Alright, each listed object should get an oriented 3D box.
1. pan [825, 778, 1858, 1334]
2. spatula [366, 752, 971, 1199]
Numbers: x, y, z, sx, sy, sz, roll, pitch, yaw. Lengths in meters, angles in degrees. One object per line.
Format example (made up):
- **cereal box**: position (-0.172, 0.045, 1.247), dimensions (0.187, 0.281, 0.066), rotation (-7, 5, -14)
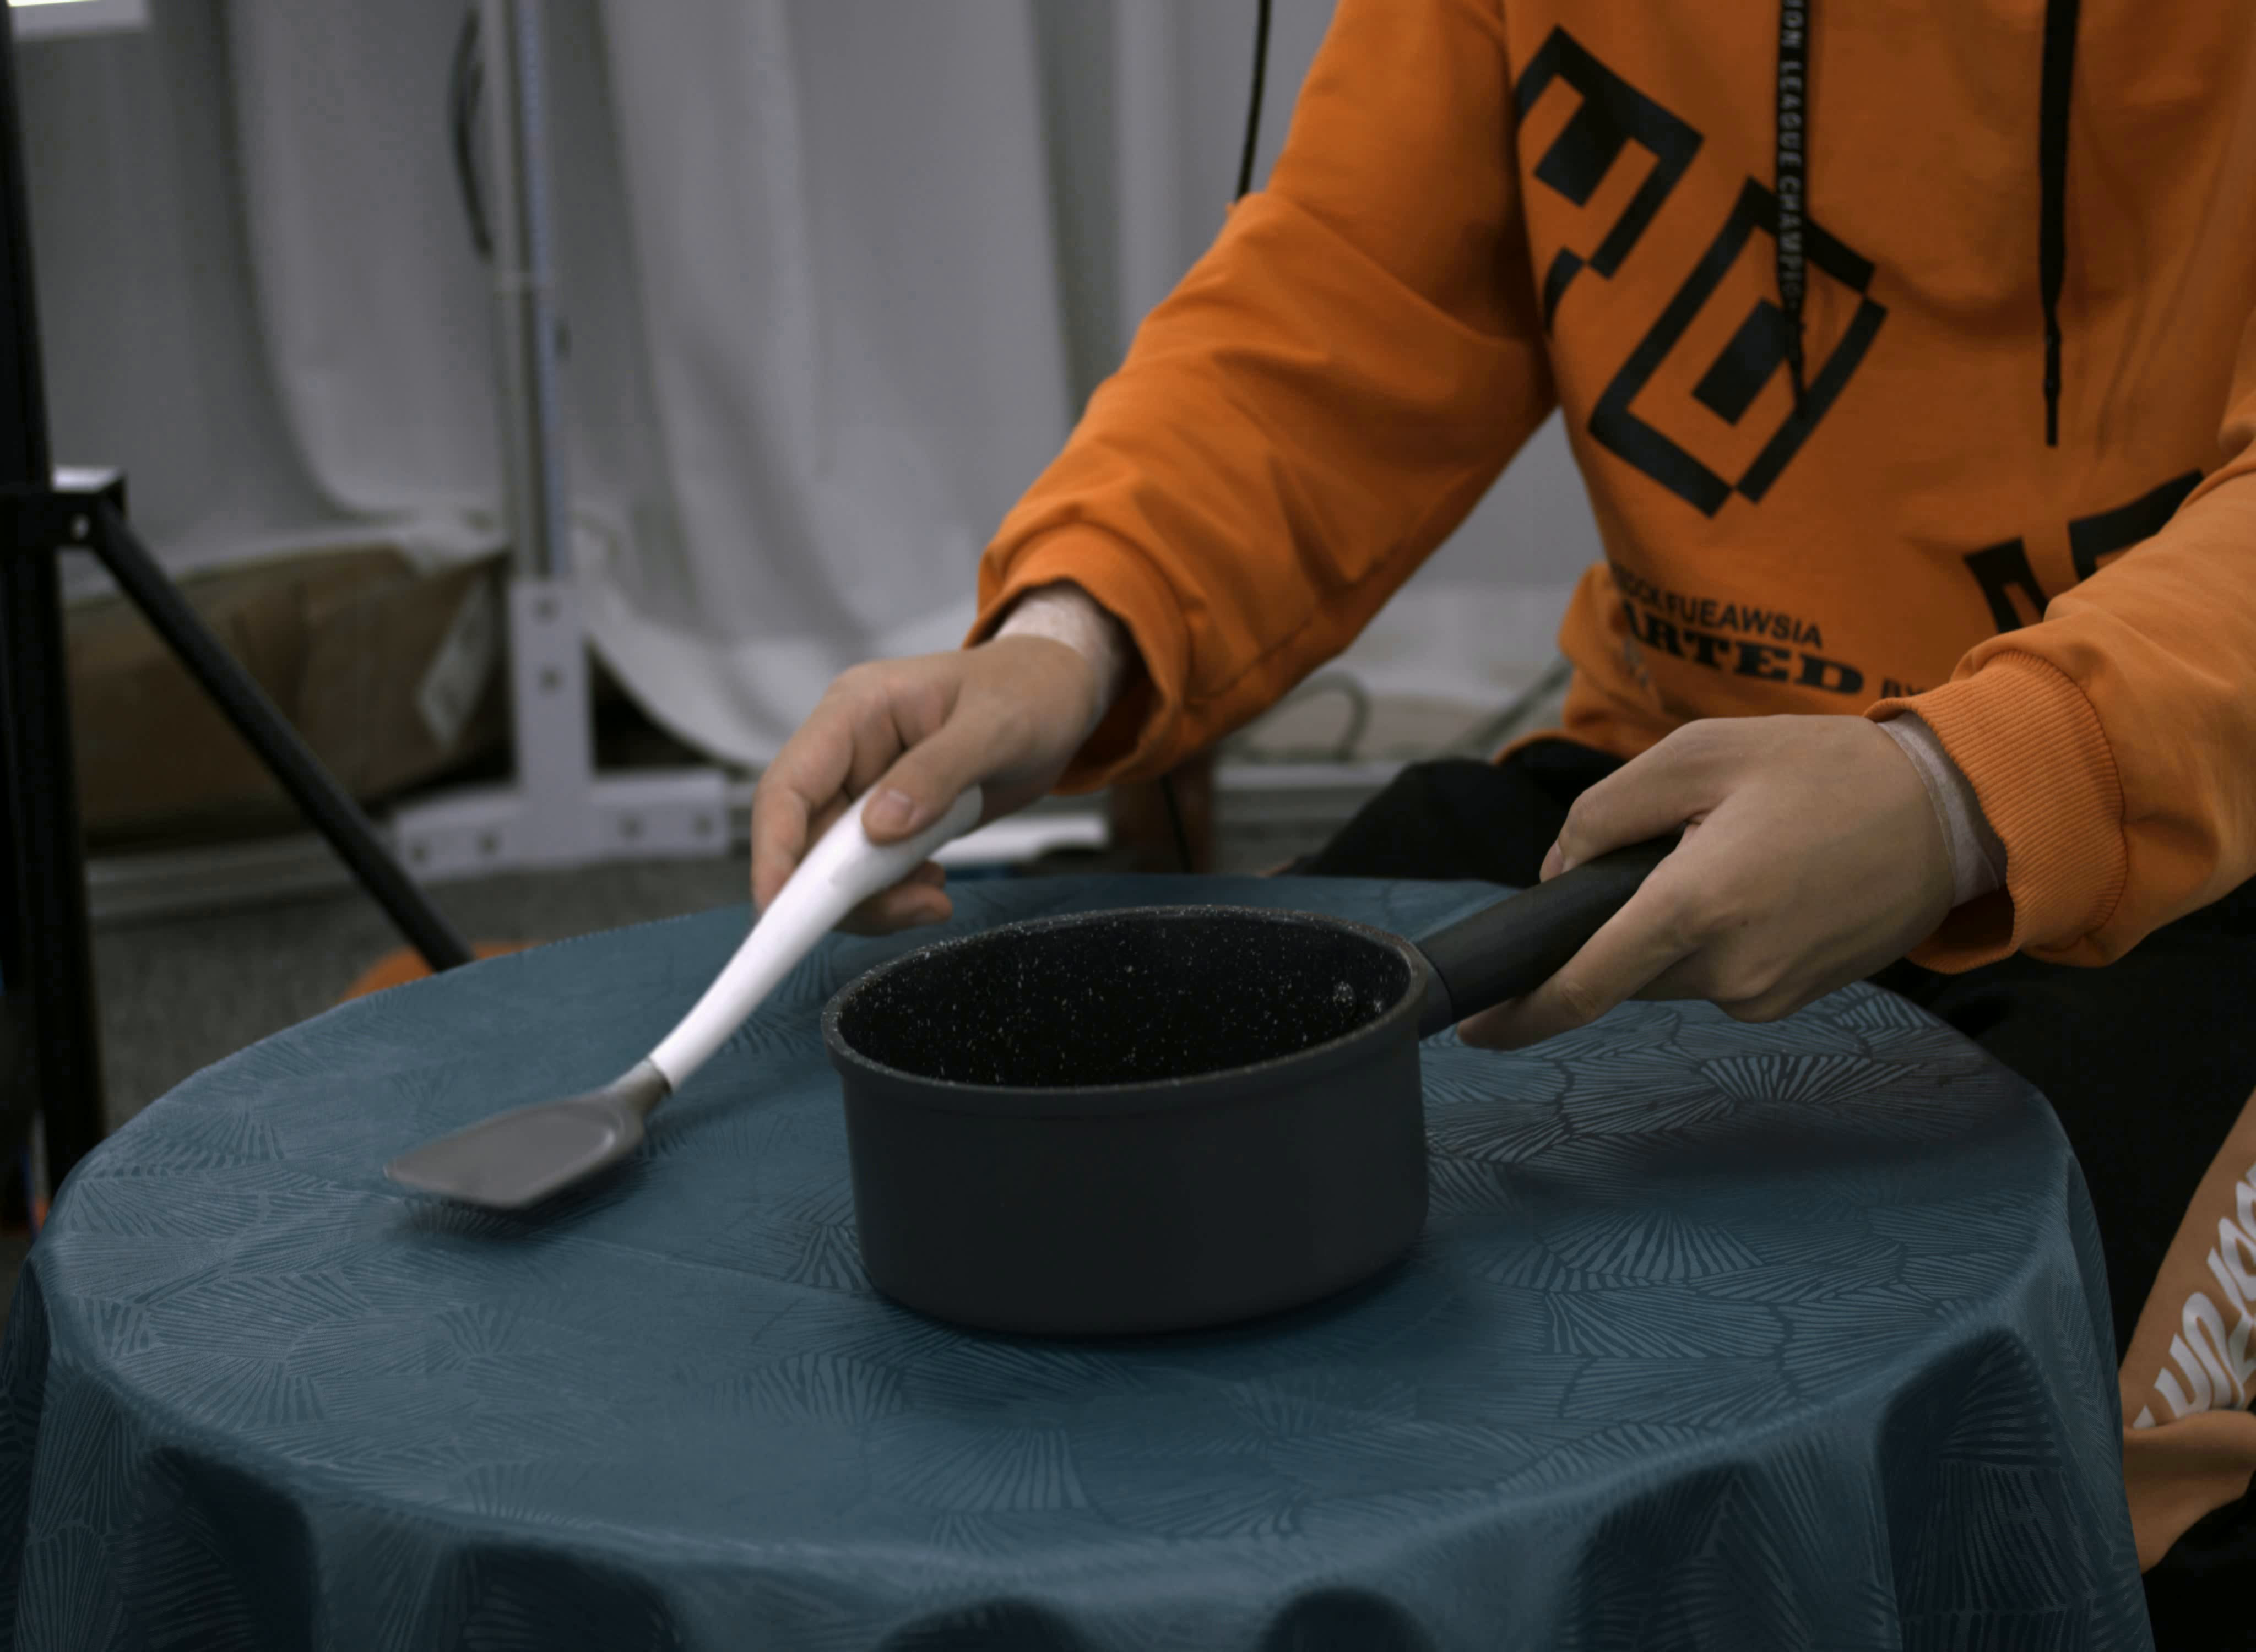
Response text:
- **pan**: position (0.071, 0.063, 1.529), dimensions (0.322, 0.086, 0.175), rotation (-14, 18, -24)
- **spatula**: position (-0.132, 0.051, 1.654), dimensions (0.059, 0.032, 0.284), rotation (14, 32, 26)
